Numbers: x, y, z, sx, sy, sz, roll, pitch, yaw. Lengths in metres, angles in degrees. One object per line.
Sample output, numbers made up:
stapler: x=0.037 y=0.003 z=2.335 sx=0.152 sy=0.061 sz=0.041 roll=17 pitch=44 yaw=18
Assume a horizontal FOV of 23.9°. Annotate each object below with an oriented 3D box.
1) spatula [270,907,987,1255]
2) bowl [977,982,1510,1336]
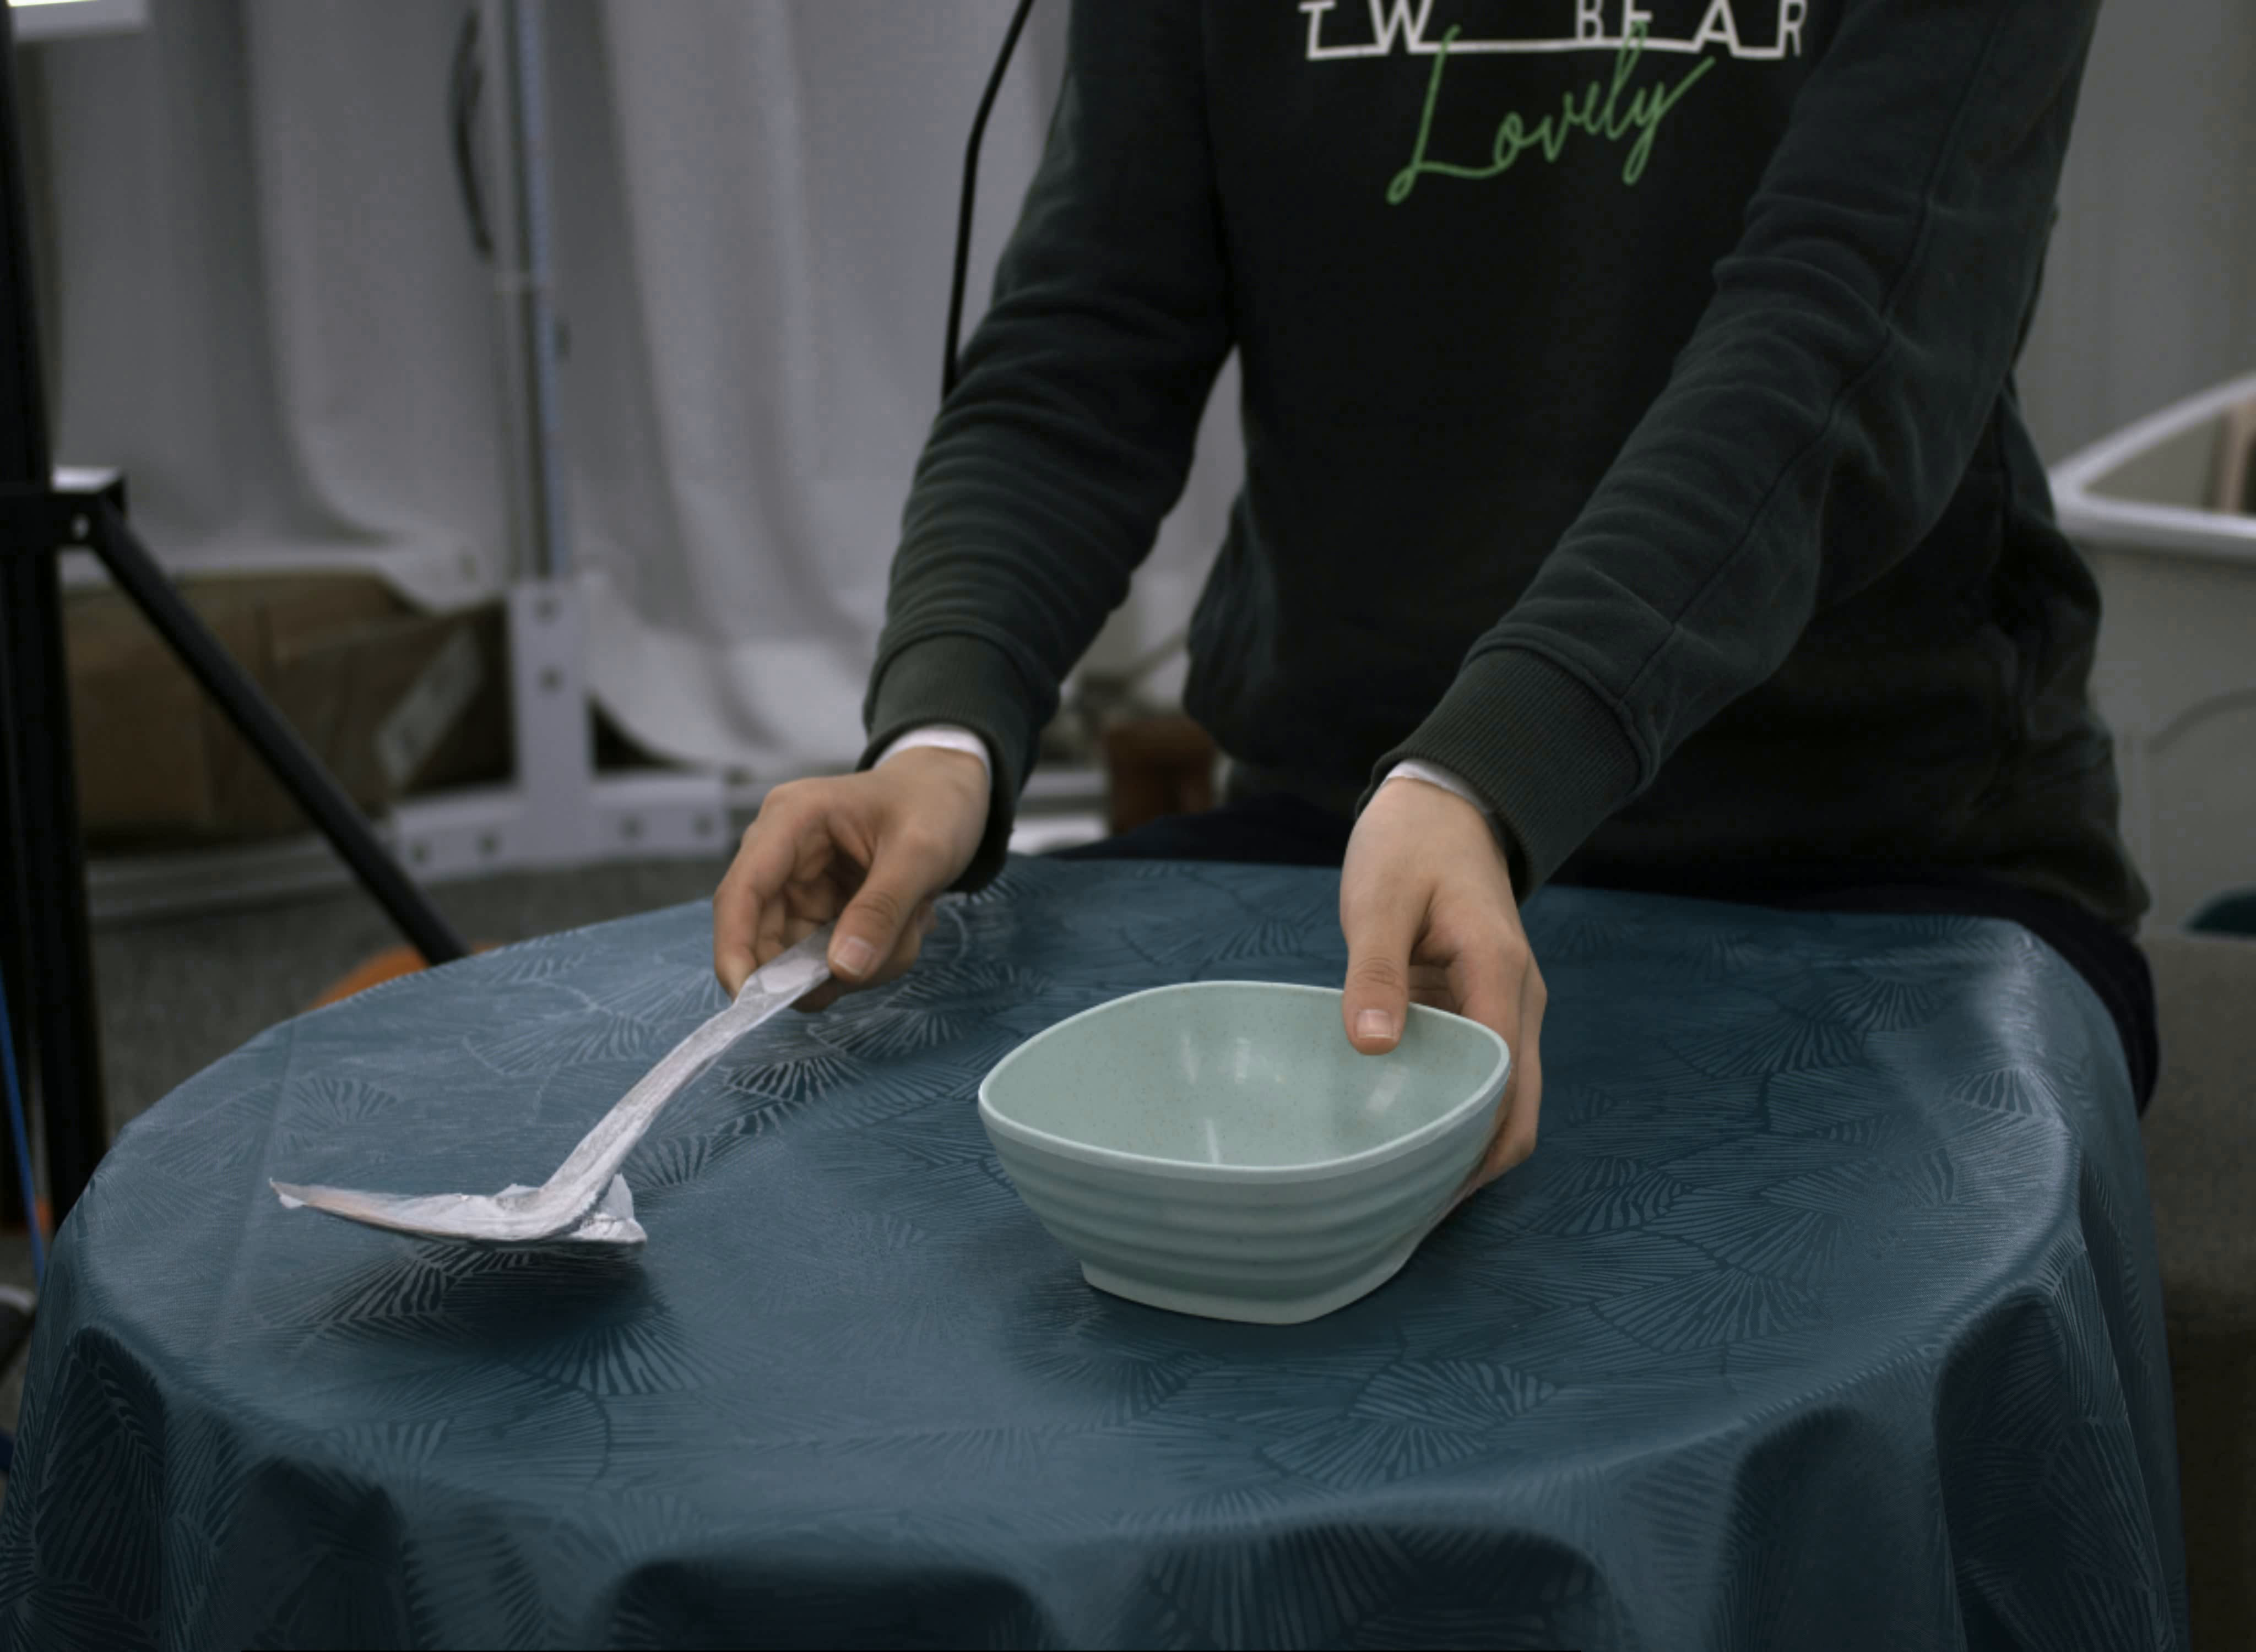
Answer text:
spatula: x=-0.129 y=0.067 z=1.610 sx=0.100 sy=0.045 sz=0.360 roll=5 pitch=21 yaw=23
bowl: x=0.033 y=0.097 z=1.486 sx=0.150 sy=0.058 sz=0.152 roll=-2 pitch=19 yaw=-1
